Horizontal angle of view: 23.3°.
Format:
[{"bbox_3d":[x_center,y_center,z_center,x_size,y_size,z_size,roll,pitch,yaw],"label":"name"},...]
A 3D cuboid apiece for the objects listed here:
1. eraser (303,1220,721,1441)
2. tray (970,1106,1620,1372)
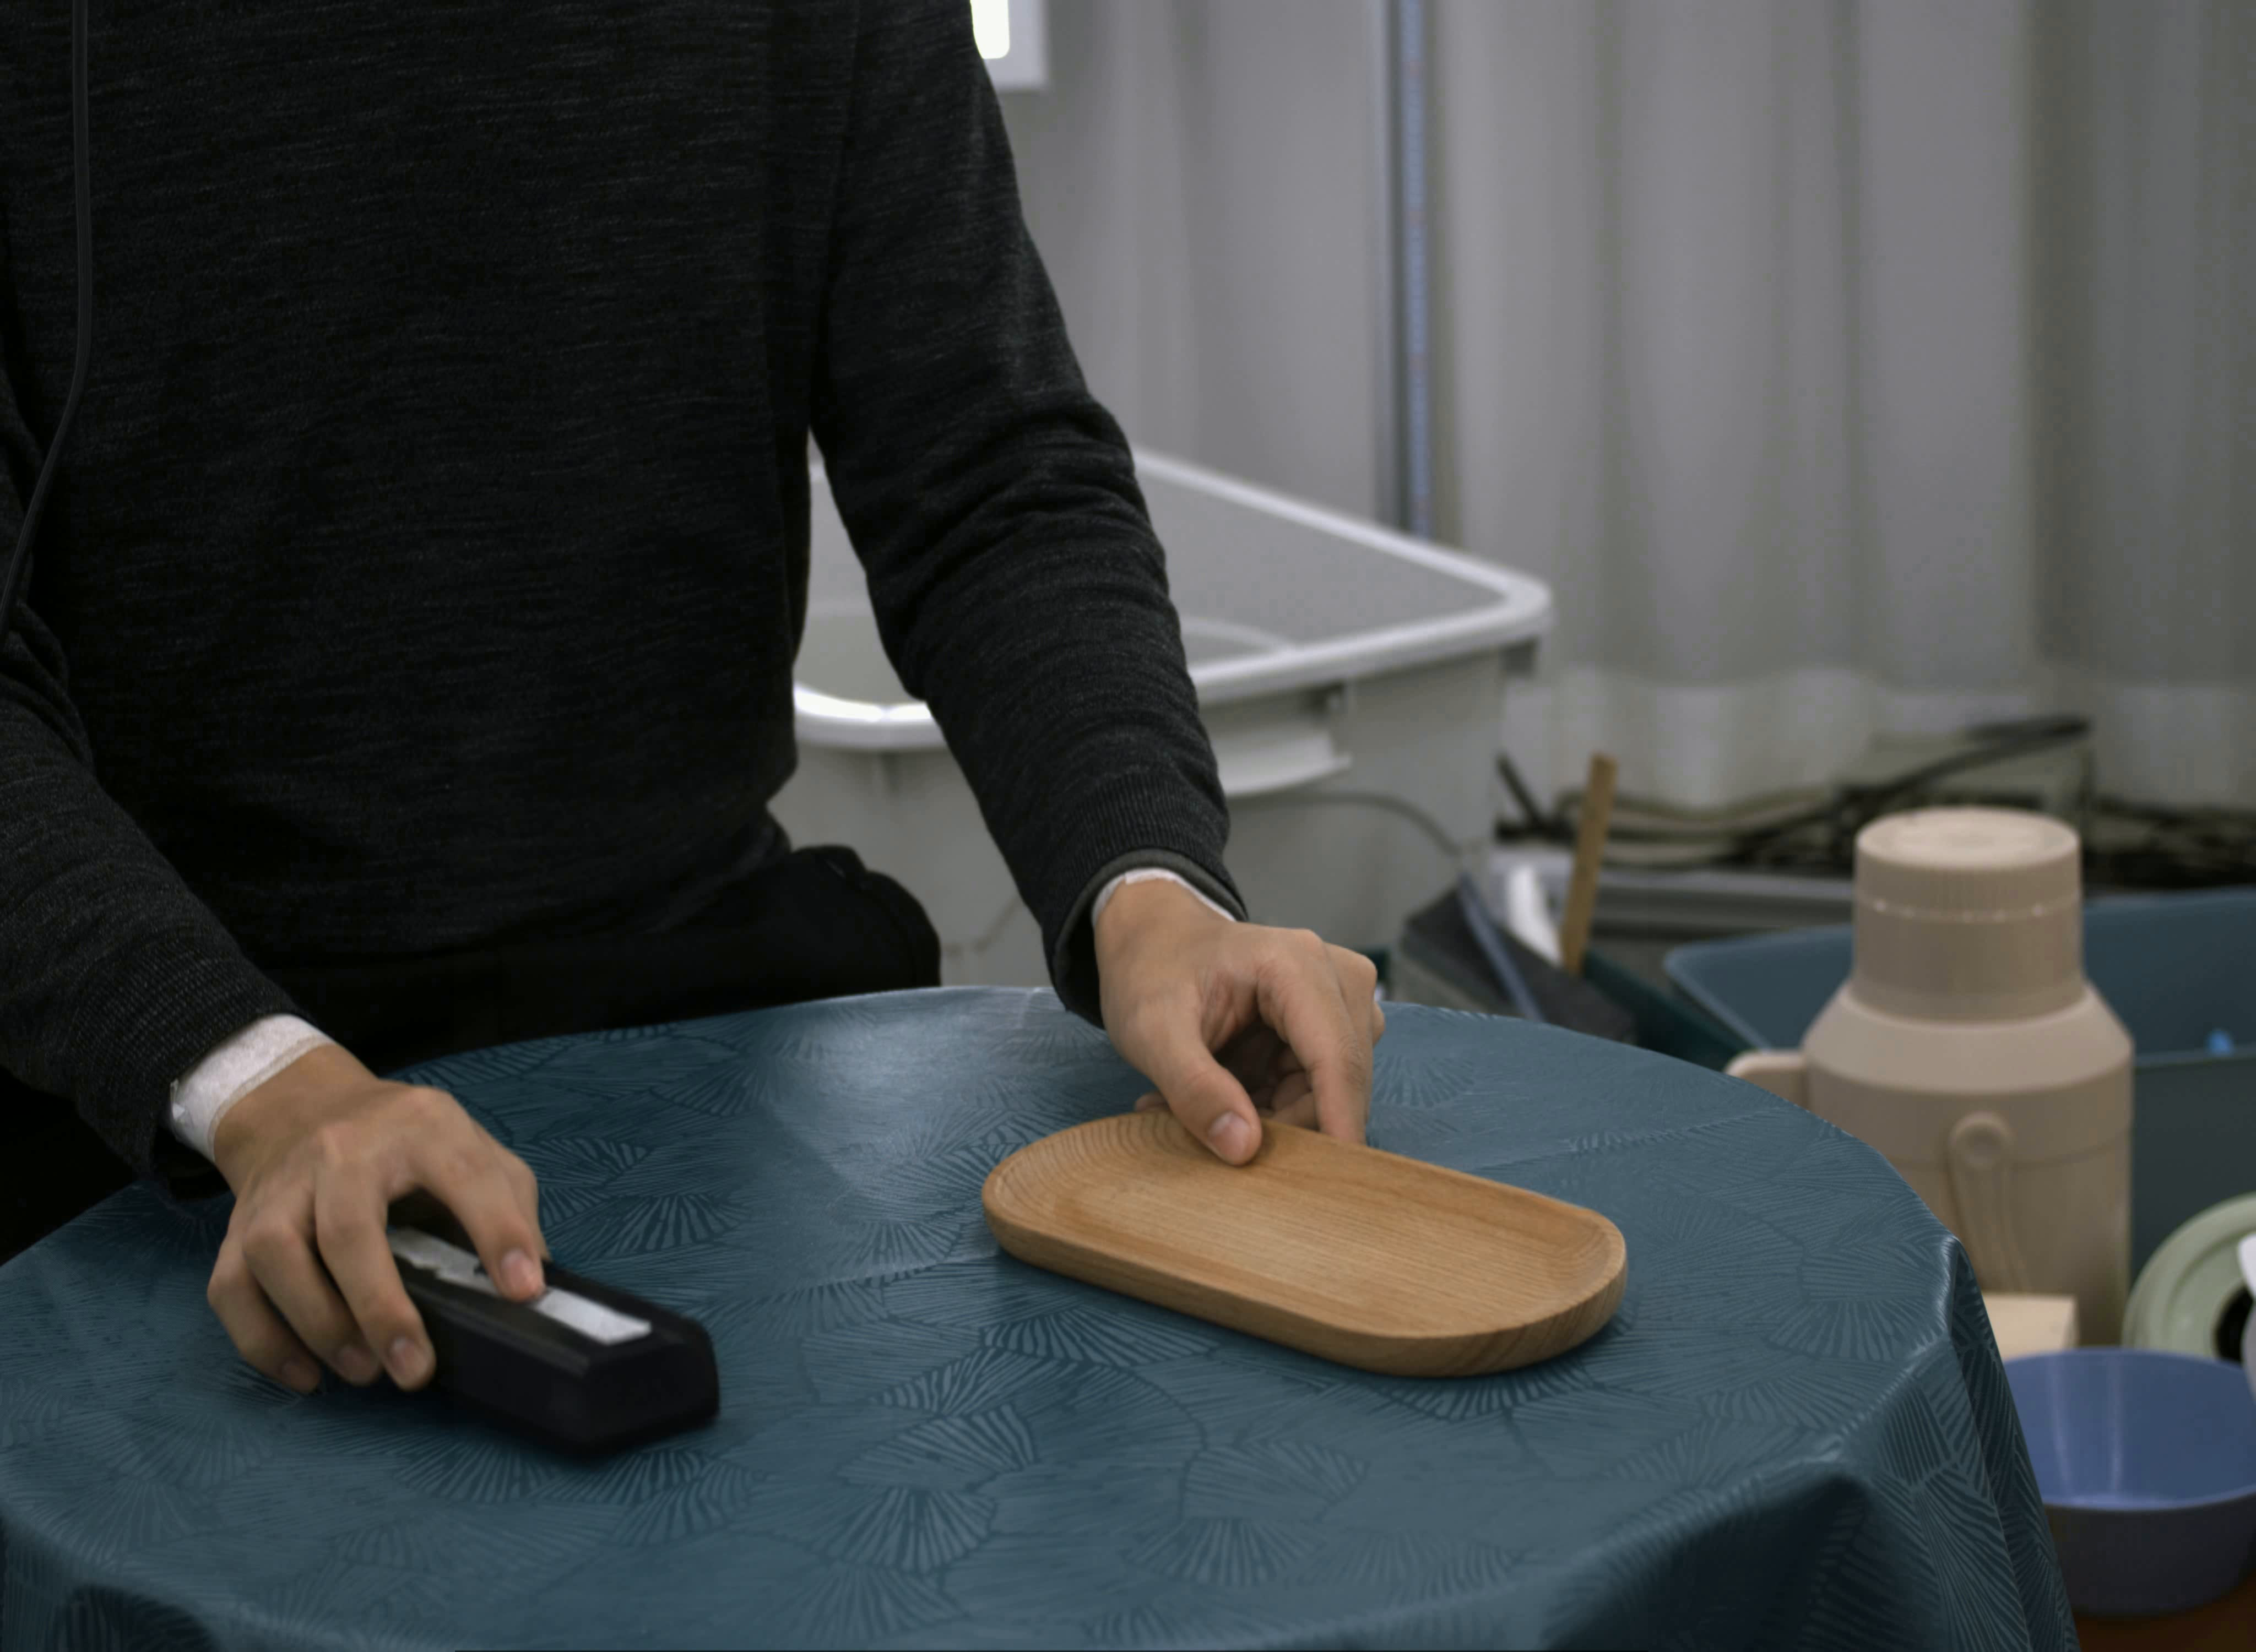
[{"bbox_3d":[-0.175,0.142,1.555,0.126,0.030,0.053,14,17,42],"label":"eraser"},{"bbox_3d":[0.047,0.122,1.630,0.101,0.020,0.232,-22,22,-39],"label":"tray"}]
